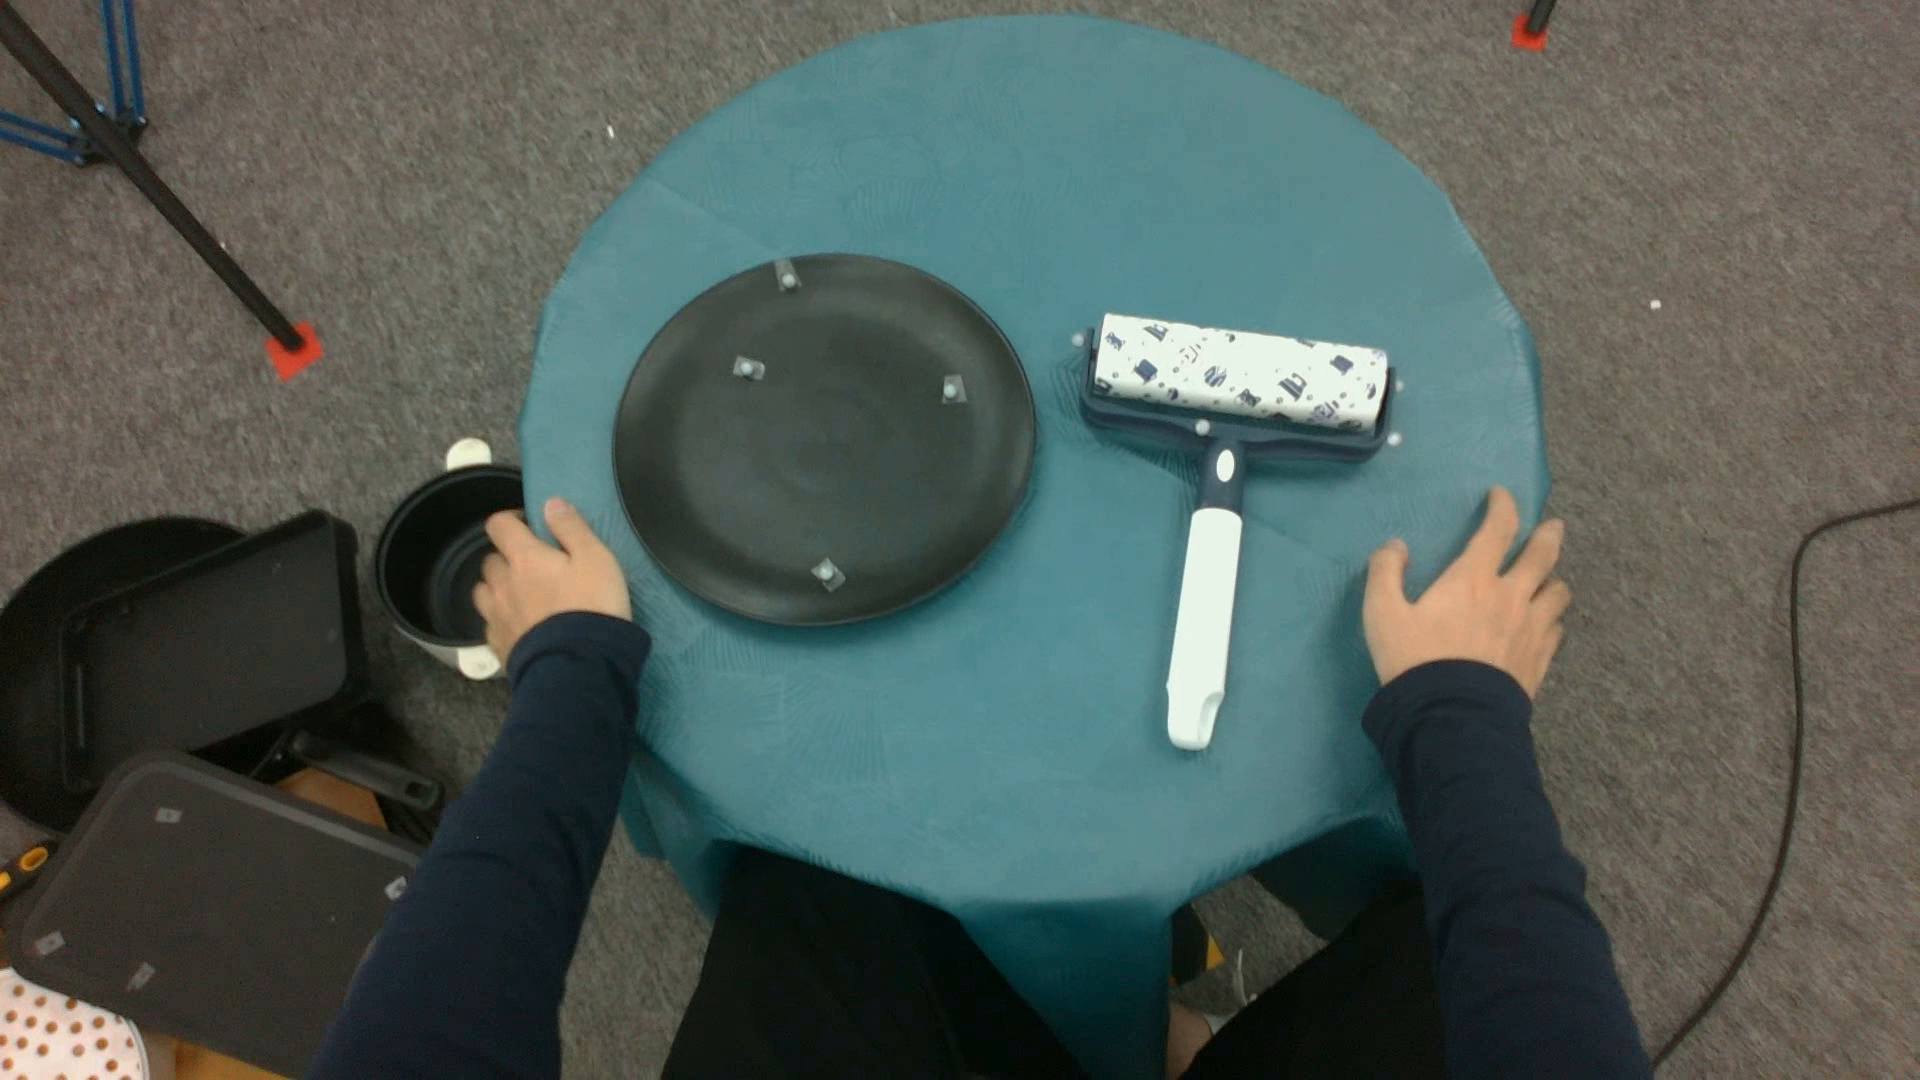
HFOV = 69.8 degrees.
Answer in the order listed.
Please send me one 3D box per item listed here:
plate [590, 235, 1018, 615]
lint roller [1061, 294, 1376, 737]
[{"bbox_3d":[-0.088,-0.069,0.792,0.244,0.023,0.245,0,67,0],"label":"plate"},{"bbox_3d":[0.133,-0.015,0.759,0.176,0.050,0.248,8,70,3],"label":"lint roller"}]
